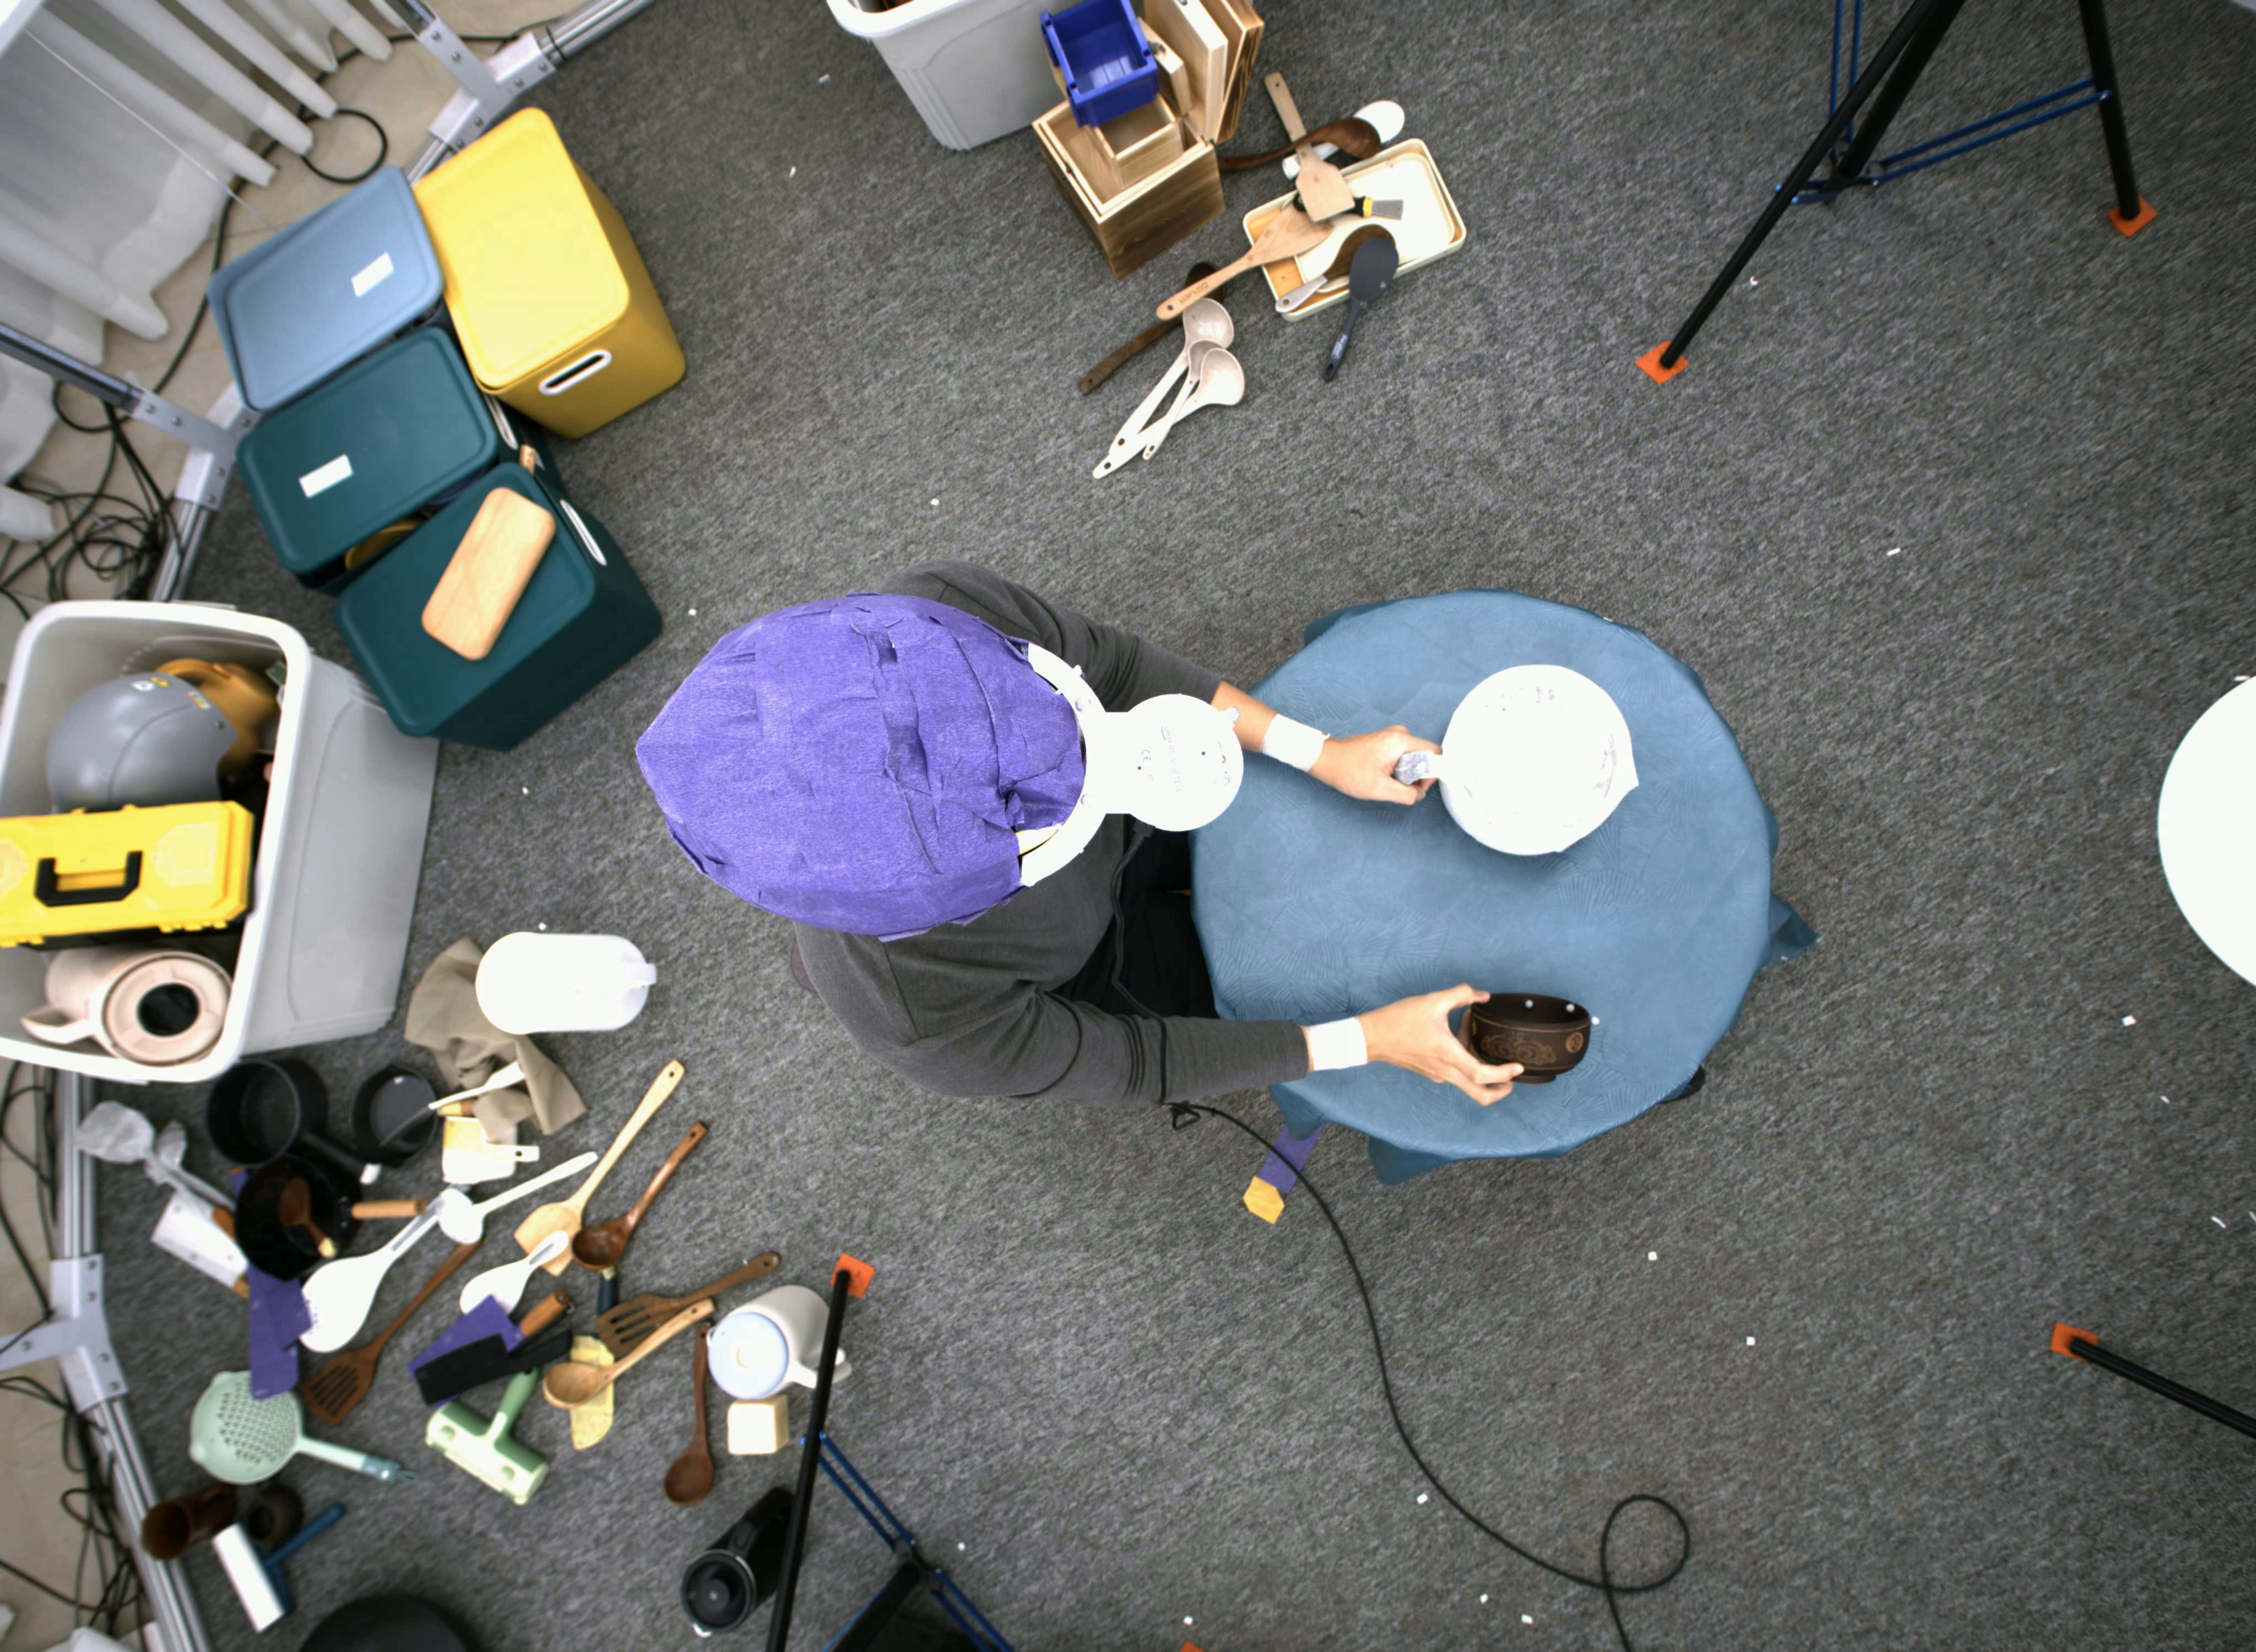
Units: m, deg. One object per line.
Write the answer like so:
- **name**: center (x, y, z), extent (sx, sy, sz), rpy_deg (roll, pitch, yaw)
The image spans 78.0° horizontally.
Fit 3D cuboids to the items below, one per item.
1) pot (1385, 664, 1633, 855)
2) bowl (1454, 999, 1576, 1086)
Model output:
- **pot**: center (0.376, -0.062, 1.379), extent (0.235, 0.136, 0.178), rpy_deg (-4, 85, 11)
- **bowl**: center (0.383, 0.214, 1.363), extent (0.118, 0.117, 0.070), rpy_deg (-4, 95, 10)
